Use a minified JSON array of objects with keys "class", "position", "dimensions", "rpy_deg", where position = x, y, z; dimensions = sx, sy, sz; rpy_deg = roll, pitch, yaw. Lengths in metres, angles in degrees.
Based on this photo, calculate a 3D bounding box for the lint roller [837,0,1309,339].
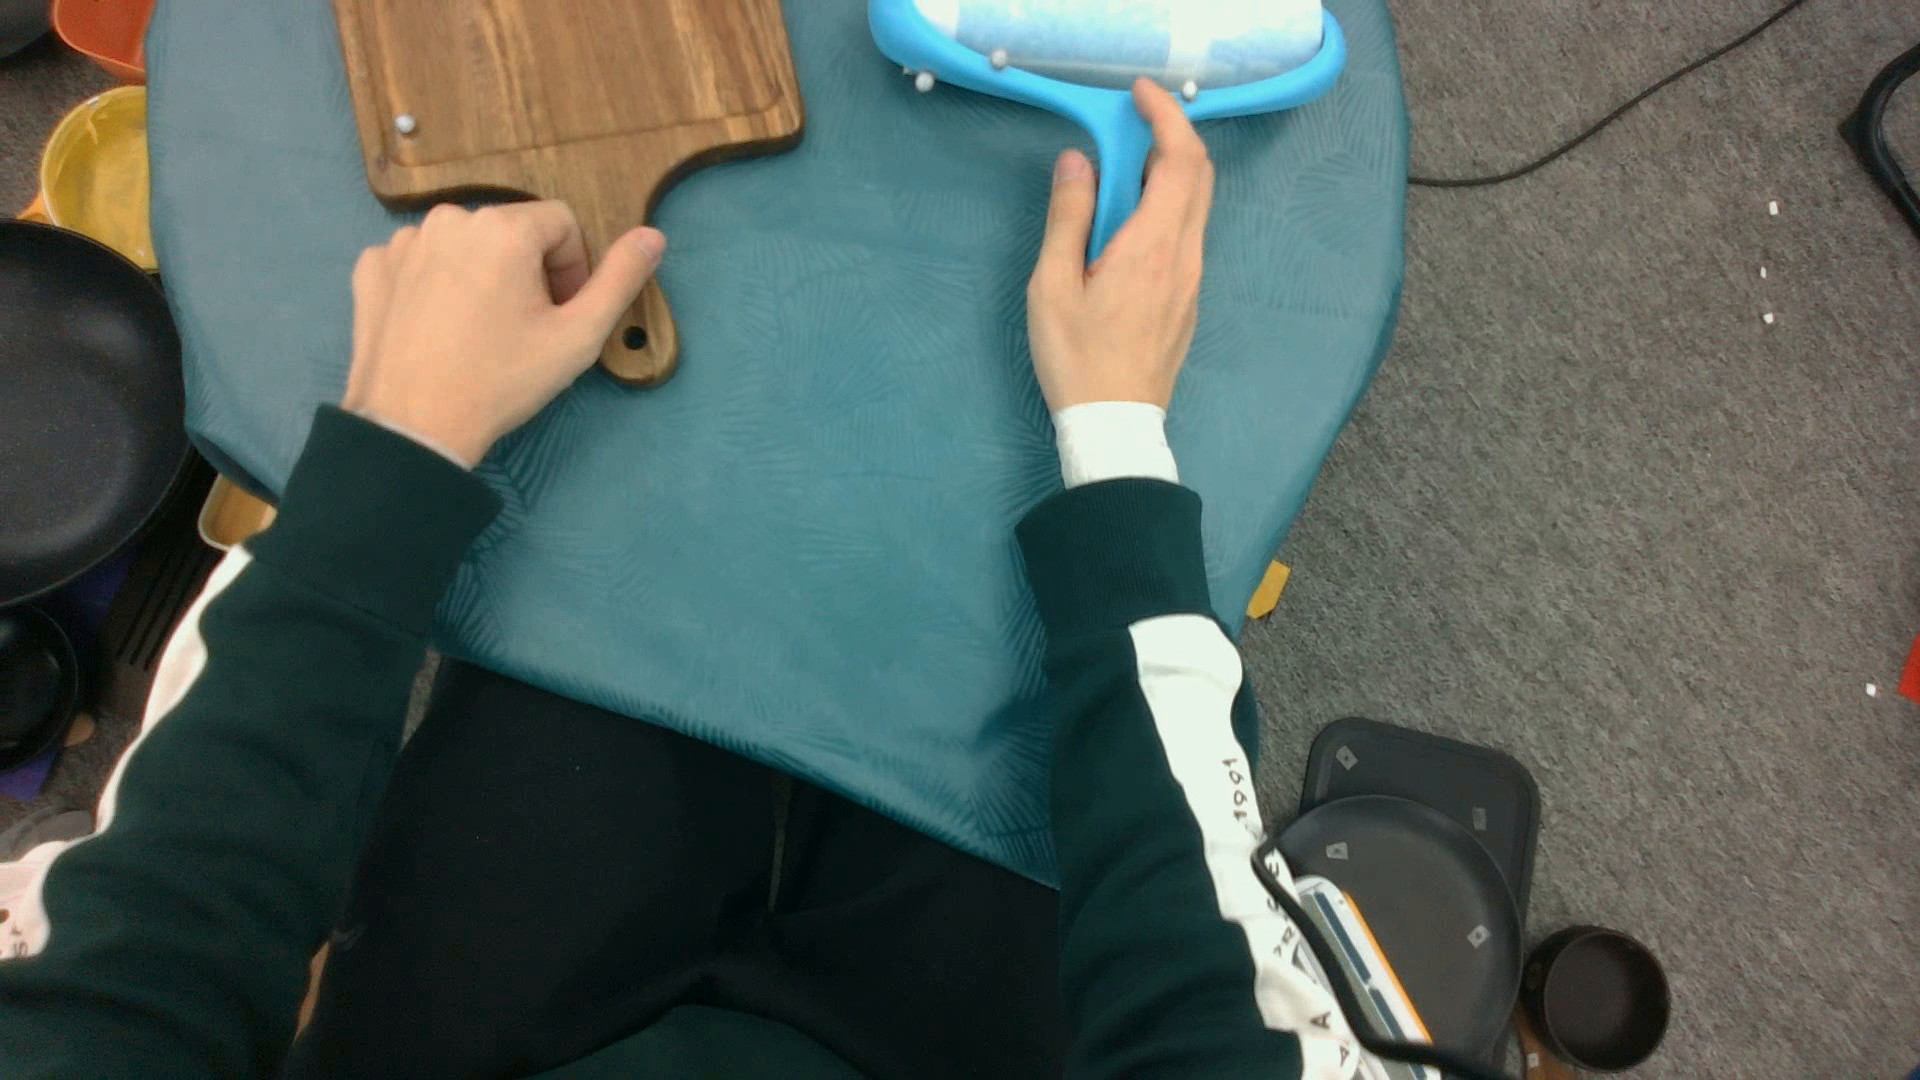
[{"class":"lint roller","position":[0.060,-0.191,0.652],"dimensions":[0.229,0.068,0.180],"rpy_deg":[-3,81,-10]}]

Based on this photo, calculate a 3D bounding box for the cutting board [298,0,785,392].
[{"class":"cutting board","position":[-0.196,-0.236,0.639],"dimensions":[0.201,0.023,0.352],"rpy_deg":[-15,83,-10]}]
